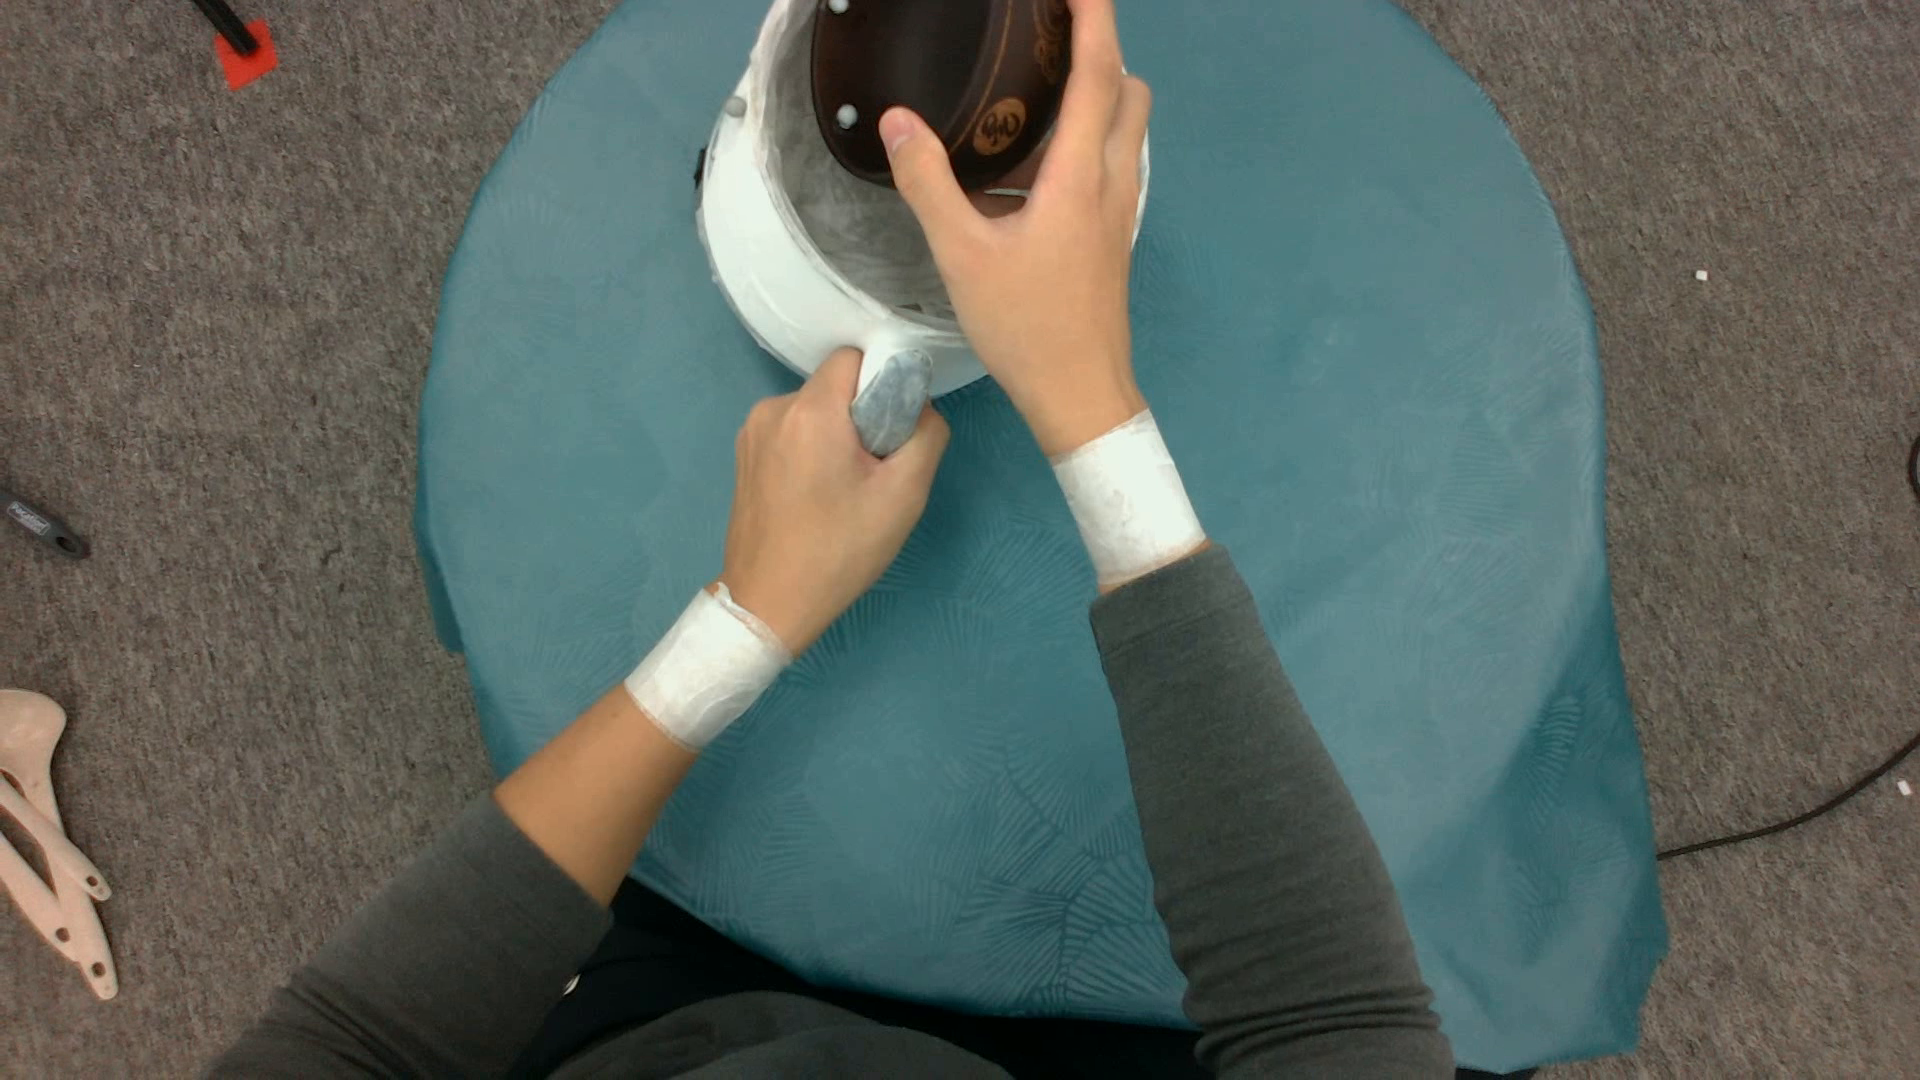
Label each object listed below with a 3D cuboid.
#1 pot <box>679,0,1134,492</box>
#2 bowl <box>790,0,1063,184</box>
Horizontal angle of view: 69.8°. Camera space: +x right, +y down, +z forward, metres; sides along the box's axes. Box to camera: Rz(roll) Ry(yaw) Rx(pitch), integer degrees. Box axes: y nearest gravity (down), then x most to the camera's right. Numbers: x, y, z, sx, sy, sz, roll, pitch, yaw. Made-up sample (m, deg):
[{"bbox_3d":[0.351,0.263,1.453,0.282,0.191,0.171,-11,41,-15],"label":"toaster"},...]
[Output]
[{"bbox_3d":[-0.034,-0.139,0.622,0.179,0.136,0.234,14,78,-20],"label":"pot"},{"bbox_3d":[-0.006,-0.200,0.546,0.070,0.117,0.118,-4,78,-43],"label":"bowl"}]
